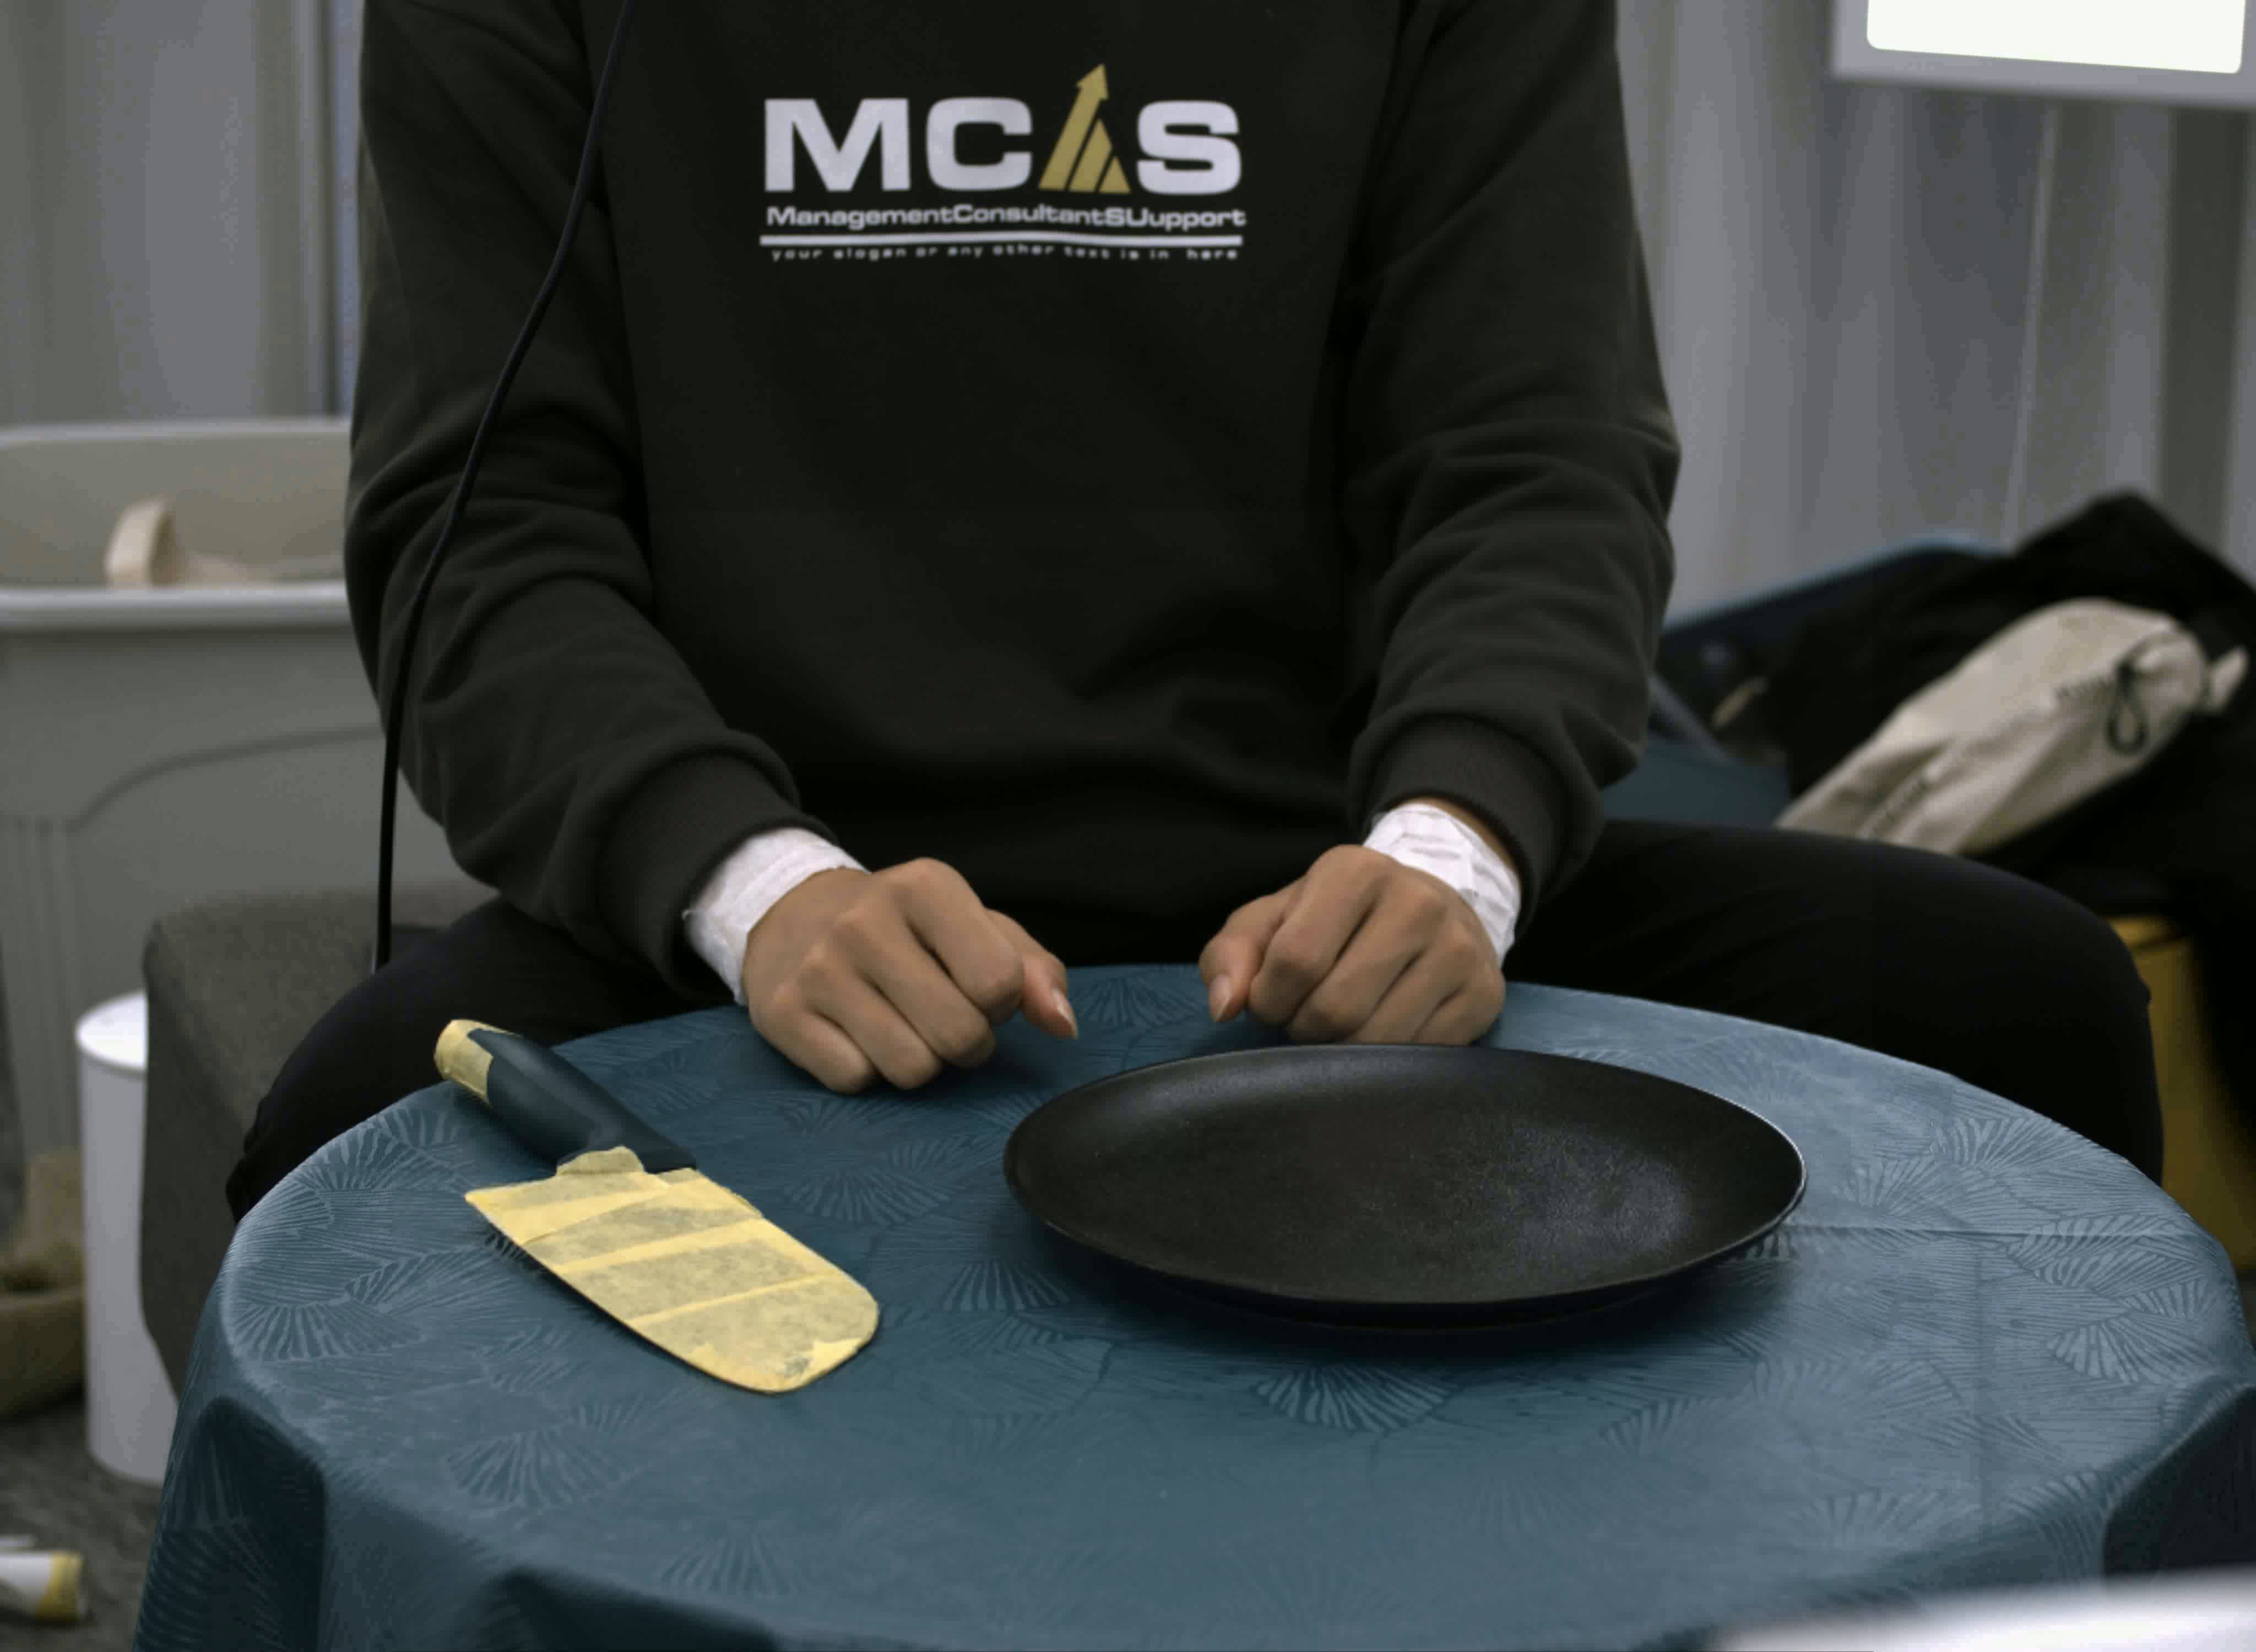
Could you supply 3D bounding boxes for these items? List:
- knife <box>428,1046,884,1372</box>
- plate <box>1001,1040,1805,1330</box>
[{"bbox_3d":[-0.156,0.115,1.582,0.081,0.027,0.286,-6,18,-29],"label":"knife"},{"bbox_3d":[0.082,0.111,1.591,0.243,0.023,0.243,1,15,0],"label":"plate"}]
